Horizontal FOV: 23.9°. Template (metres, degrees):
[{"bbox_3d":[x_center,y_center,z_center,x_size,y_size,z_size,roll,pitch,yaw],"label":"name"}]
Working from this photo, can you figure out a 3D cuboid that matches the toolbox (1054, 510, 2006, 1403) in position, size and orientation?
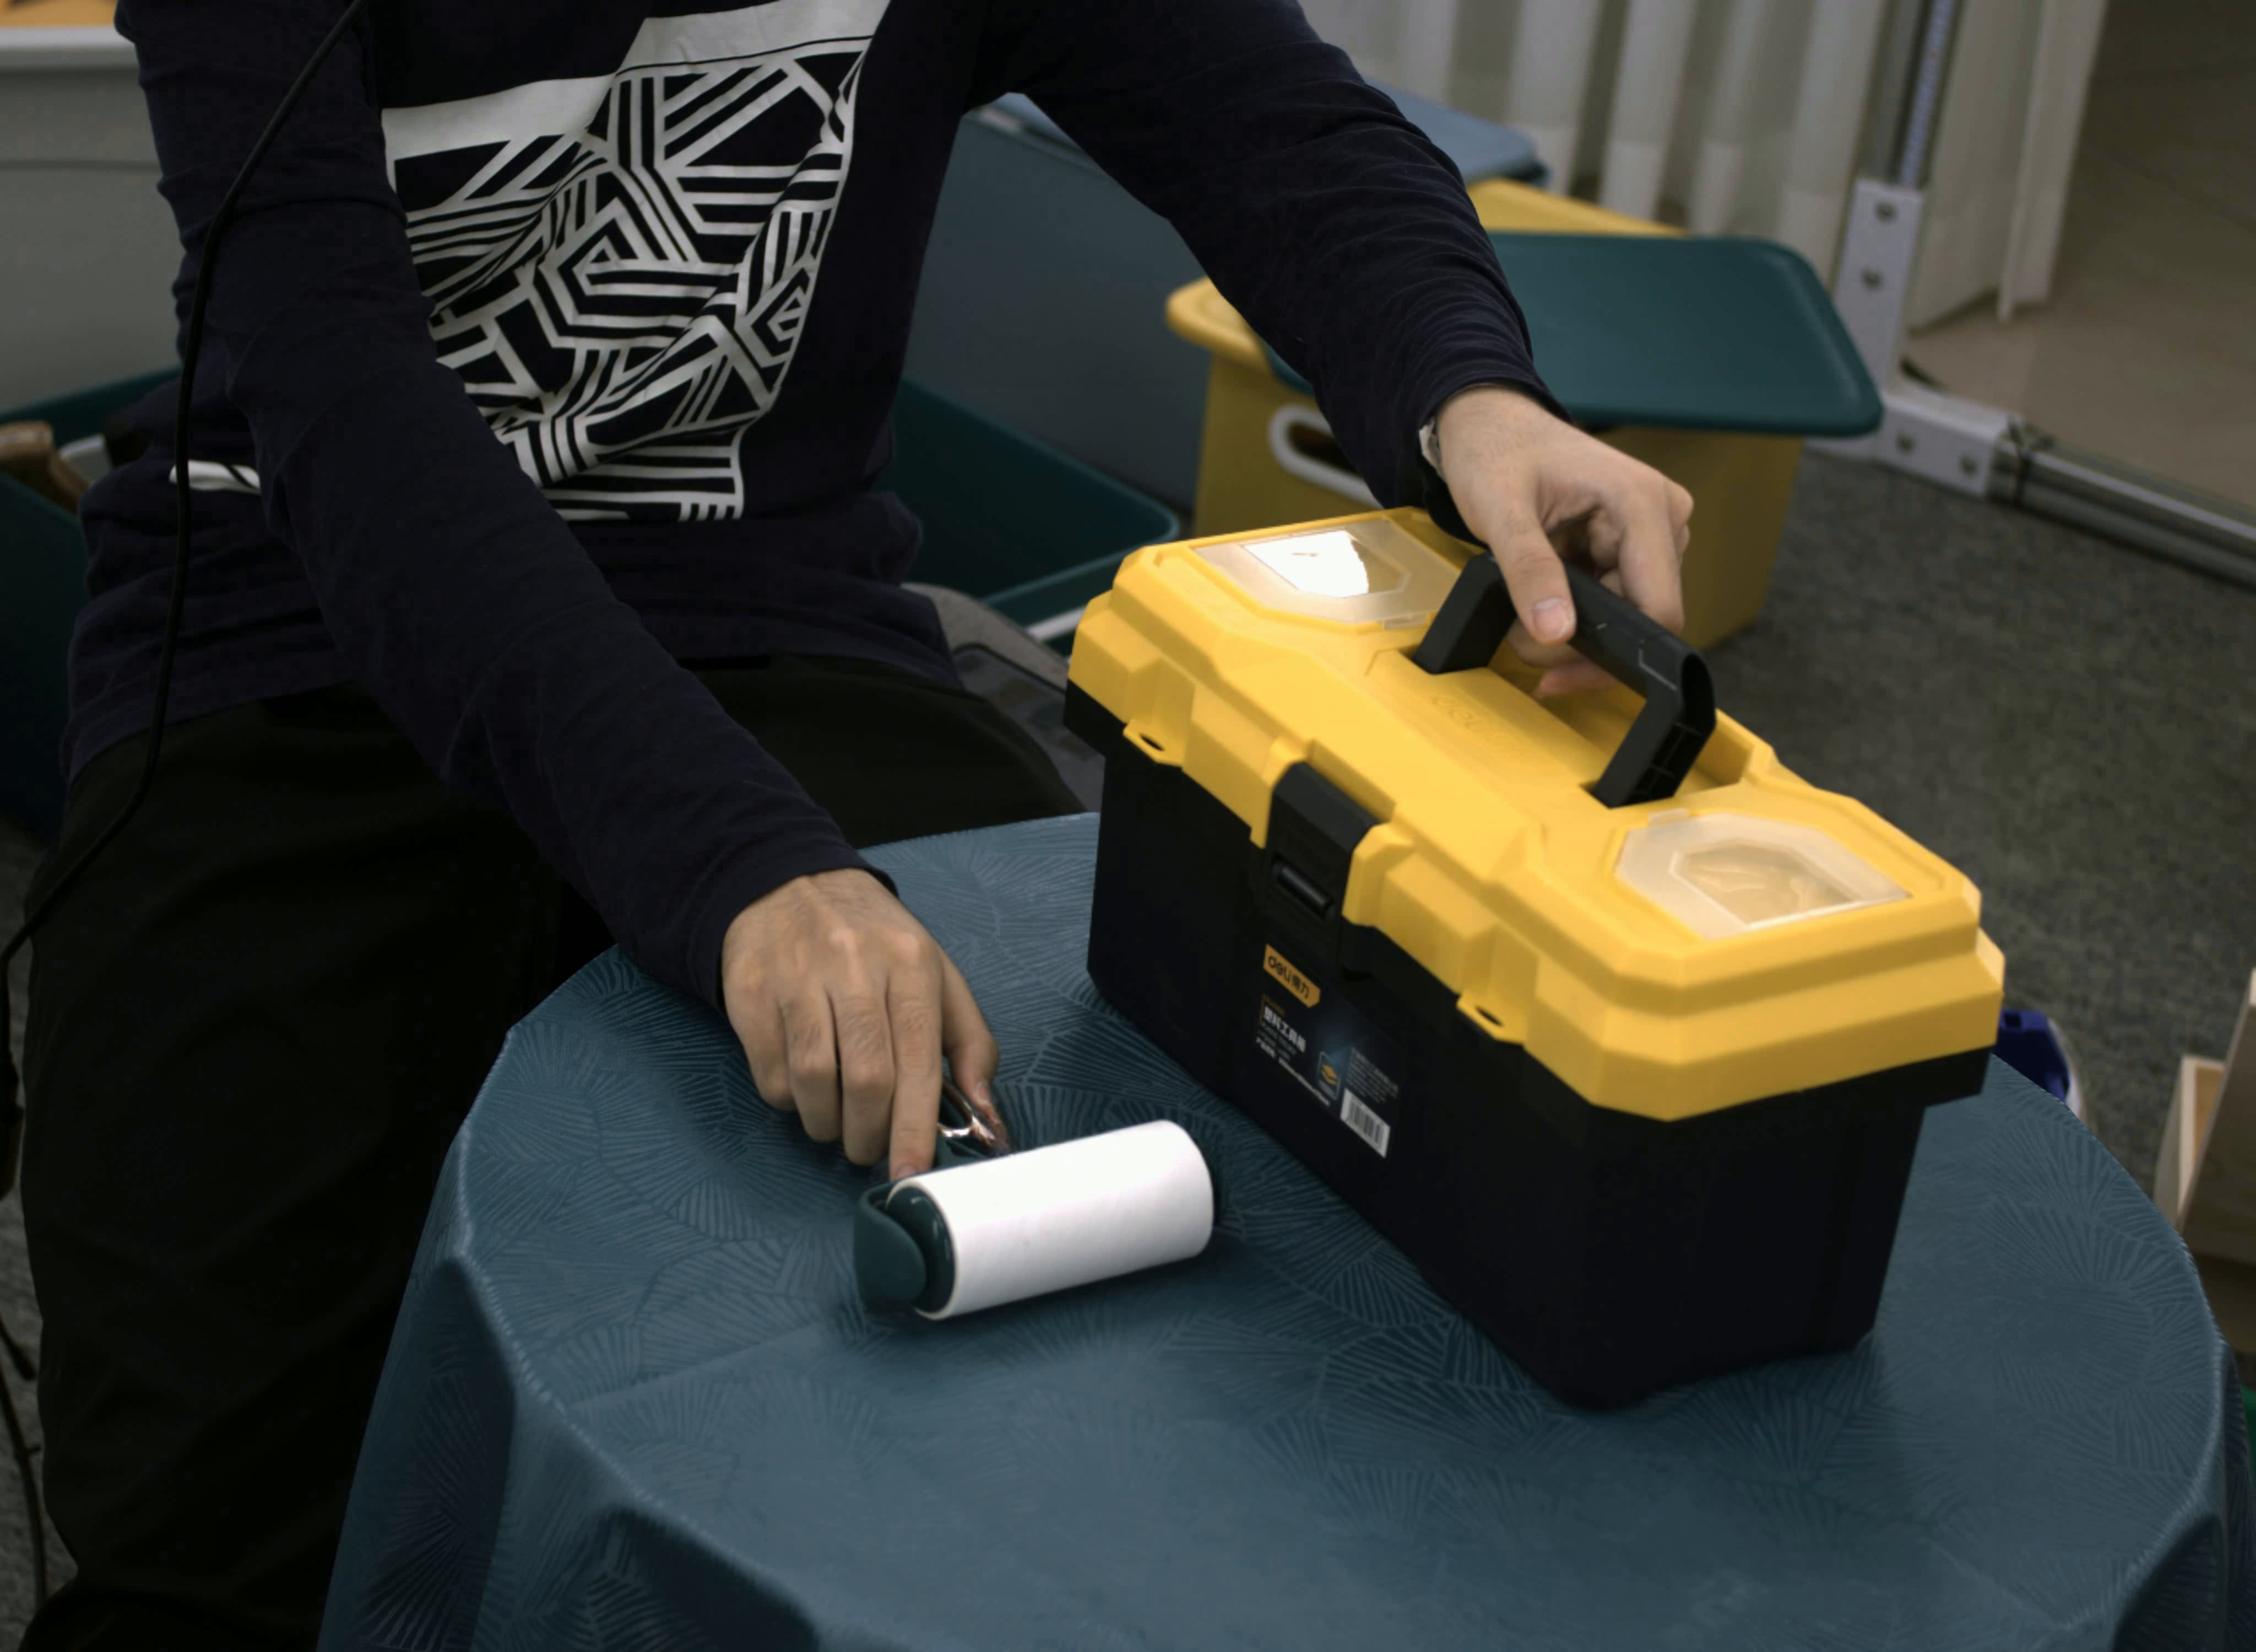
[{"bbox_3d":[0.123,0.037,1.813,0.180,0.172,0.354,-10,30,-31],"label":"toolbox"}]

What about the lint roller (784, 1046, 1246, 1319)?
[{"bbox_3d":[-0.063,0.099,1.787,0.133,0.048,0.182,-12,32,-31],"label":"lint roller"}]
